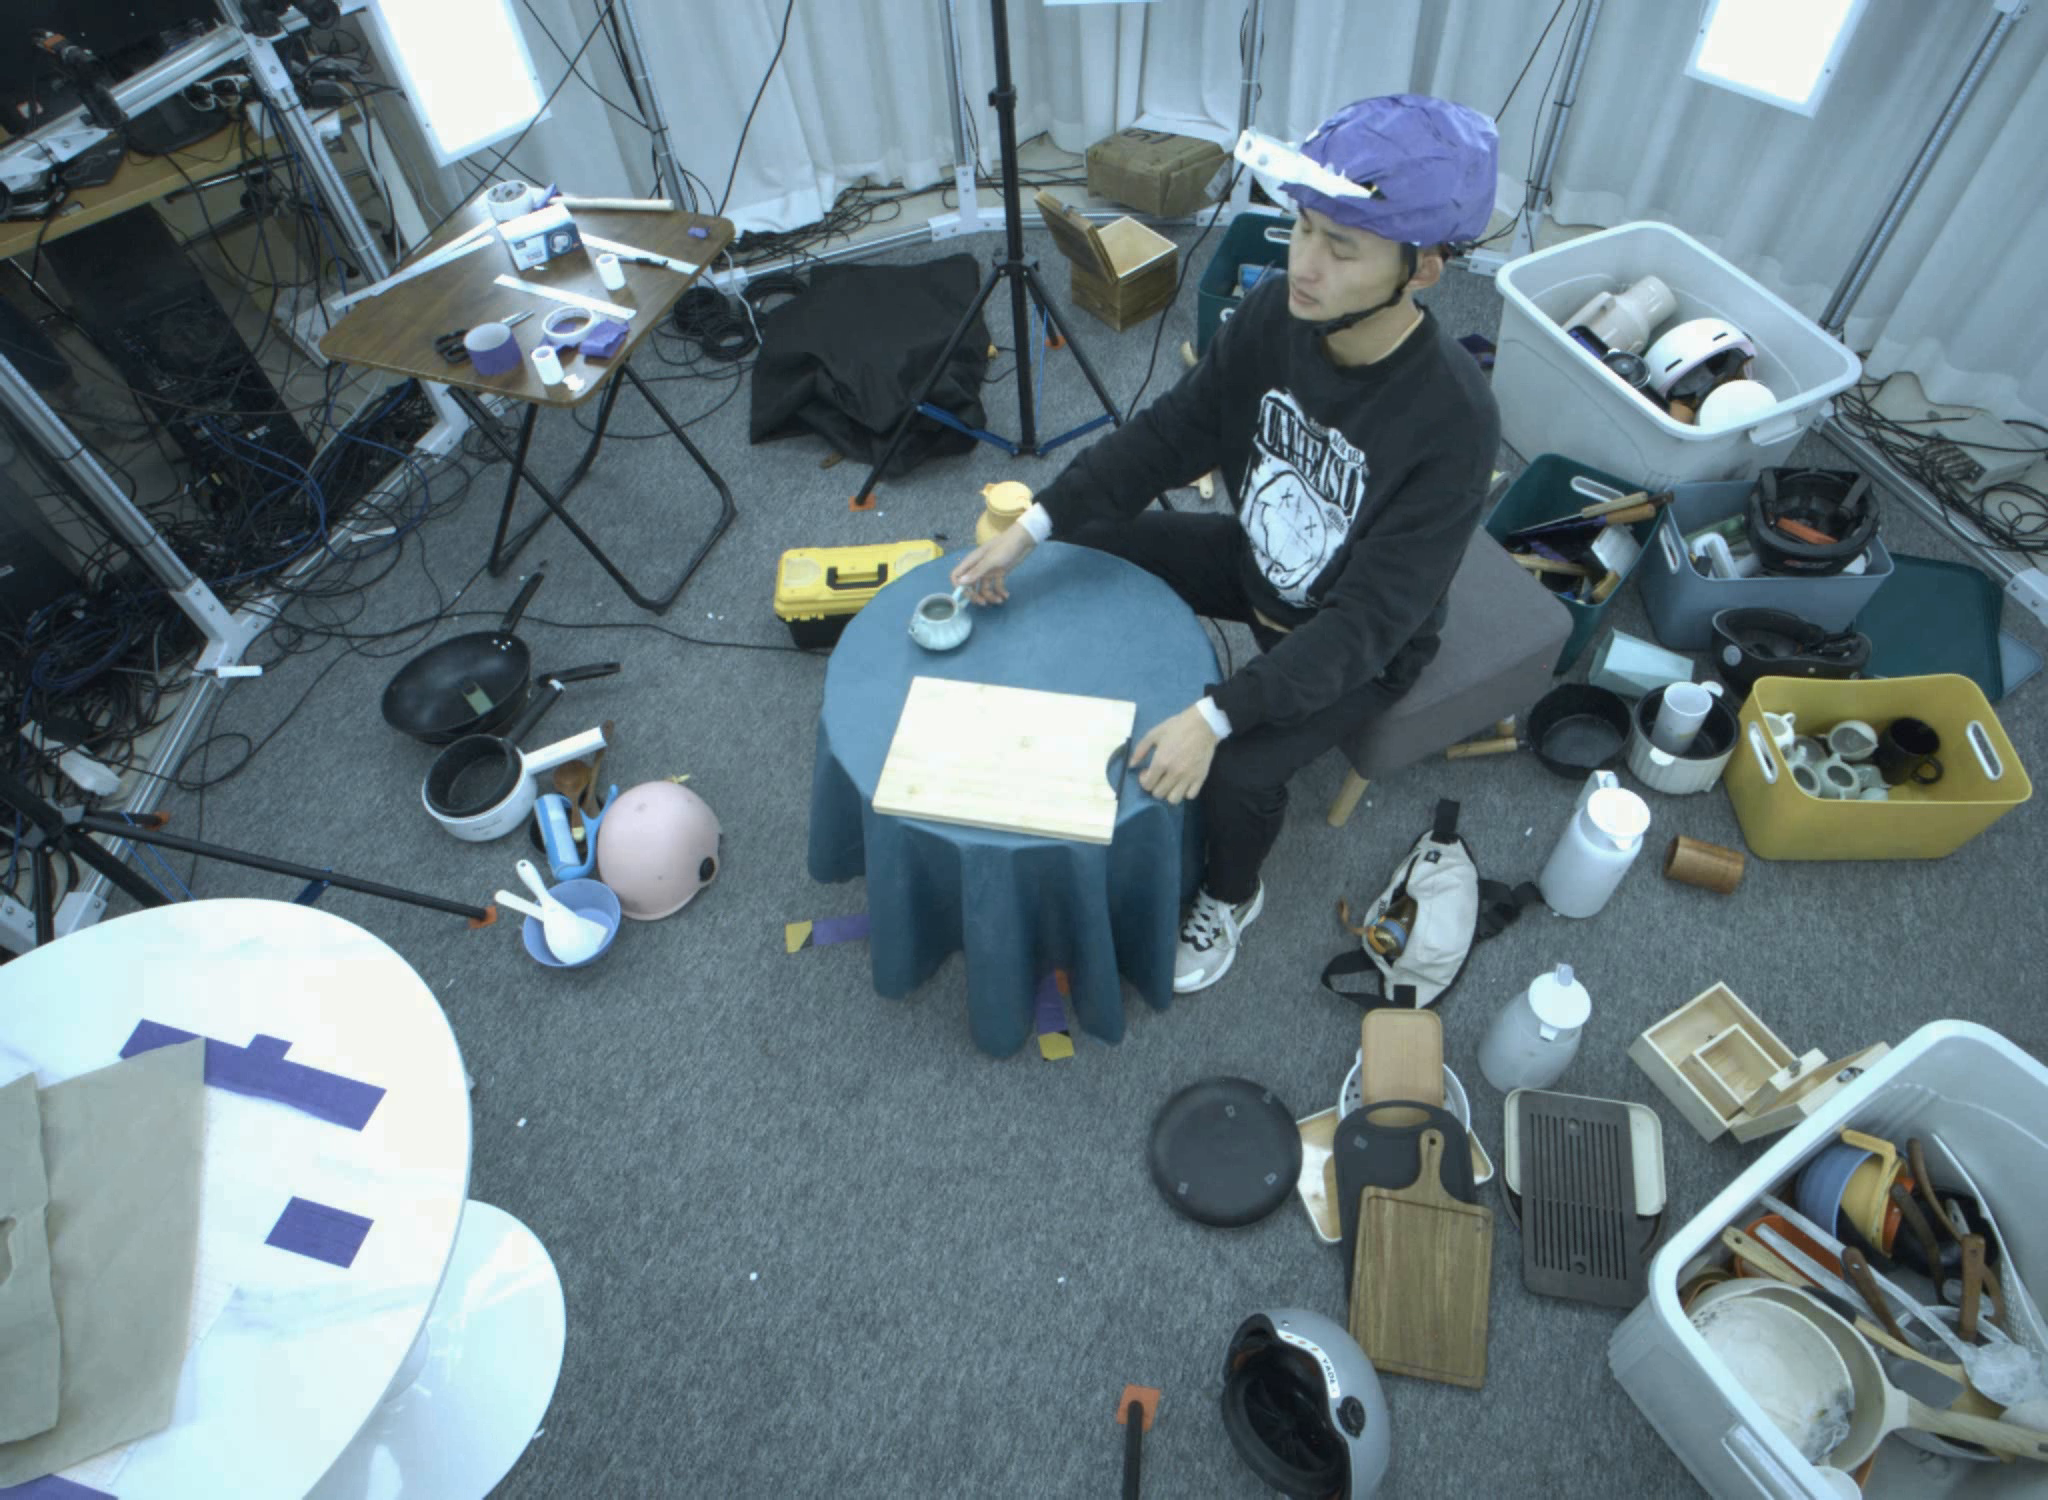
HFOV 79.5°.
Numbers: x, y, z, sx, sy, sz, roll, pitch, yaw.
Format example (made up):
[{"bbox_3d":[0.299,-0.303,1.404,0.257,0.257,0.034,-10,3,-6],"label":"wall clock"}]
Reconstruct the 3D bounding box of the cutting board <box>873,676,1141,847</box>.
[{"bbox_3d":[-0.019,0.011,1.767,0.347,0.024,0.249,7,55,7],"label":"cutting board"}]

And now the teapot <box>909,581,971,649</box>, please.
[{"bbox_3d":[-0.129,-0.206,1.897,0.094,0.062,0.137,30,61,23],"label":"teapot"}]
